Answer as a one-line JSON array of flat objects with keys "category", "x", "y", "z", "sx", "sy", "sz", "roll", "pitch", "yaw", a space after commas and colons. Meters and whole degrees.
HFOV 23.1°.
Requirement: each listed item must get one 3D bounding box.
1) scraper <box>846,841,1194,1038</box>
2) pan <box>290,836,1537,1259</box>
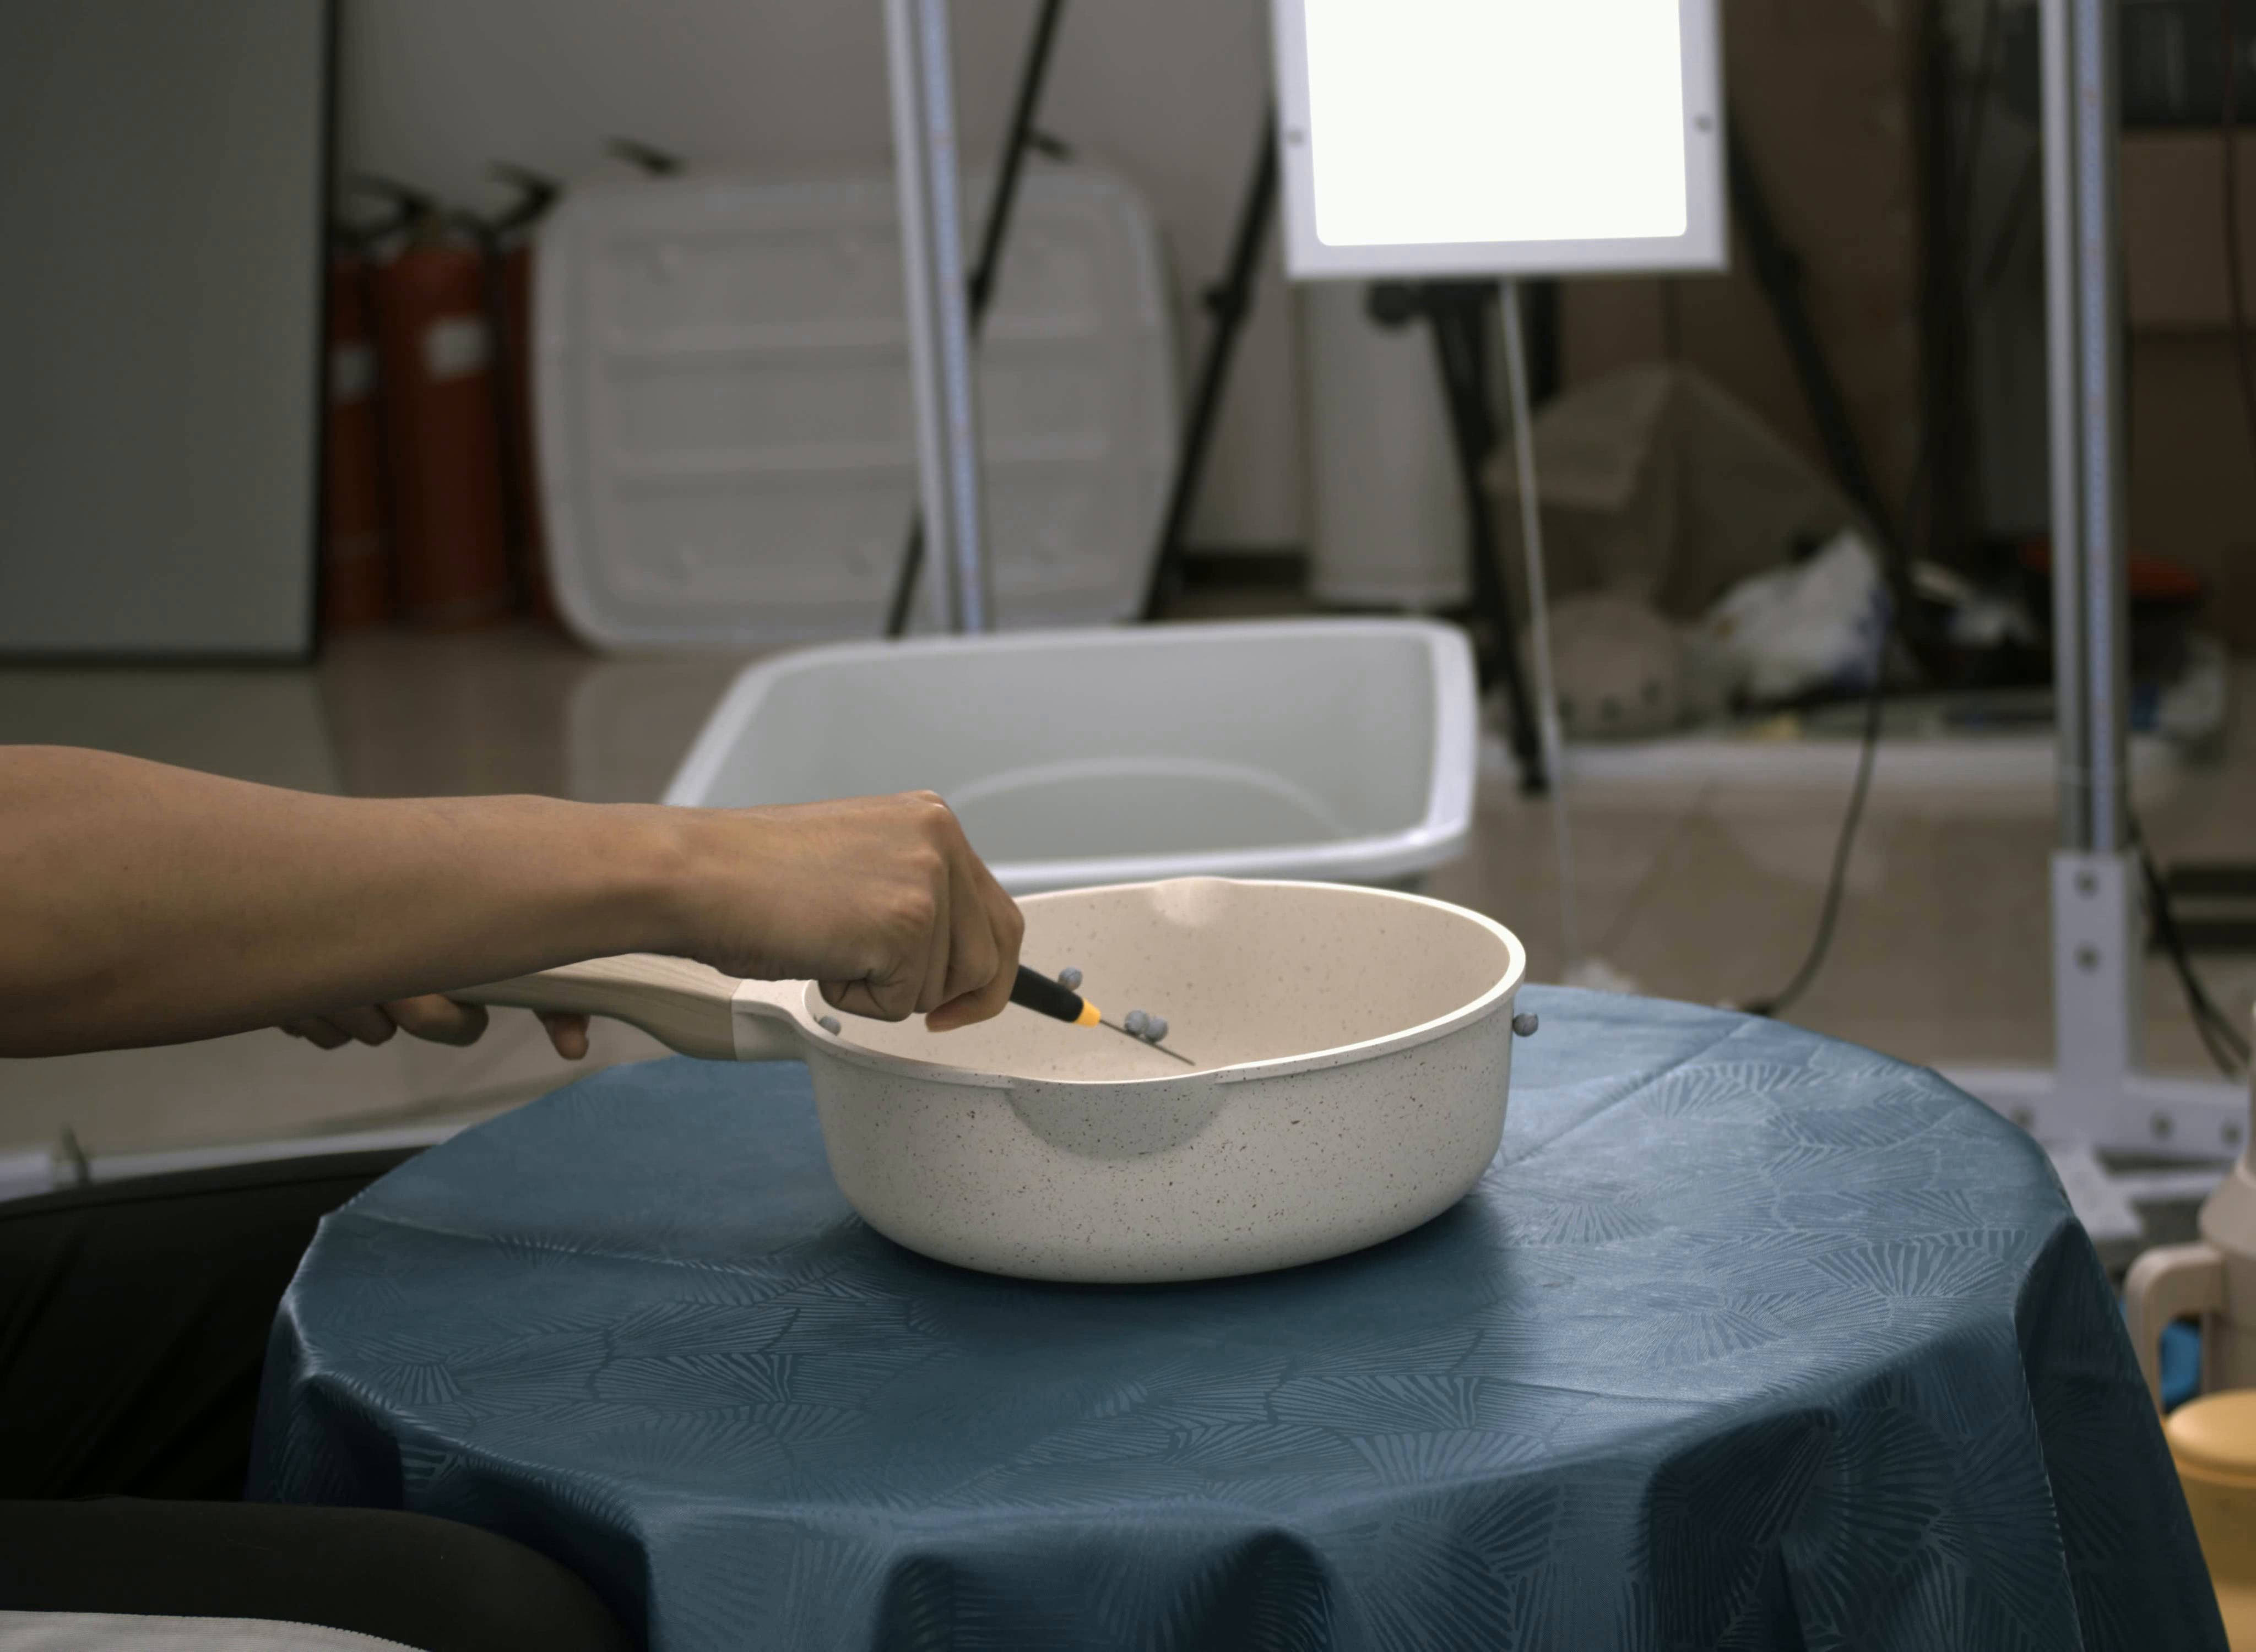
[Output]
[{"category": "scraper", "x": -0.034, "y": 0.039, "z": 1.828, "sx": 0.167, "sy": 0.015, "sz": 0.039, "roll": 28, "pitch": 5, "yaw": -45}, {"category": "pan", "x": -0.073, "y": 0.075, "z": 1.910, "sx": 0.437, "sy": 0.102, "sz": 0.261, "roll": -3, "pitch": 16, "yaw": 9}]
